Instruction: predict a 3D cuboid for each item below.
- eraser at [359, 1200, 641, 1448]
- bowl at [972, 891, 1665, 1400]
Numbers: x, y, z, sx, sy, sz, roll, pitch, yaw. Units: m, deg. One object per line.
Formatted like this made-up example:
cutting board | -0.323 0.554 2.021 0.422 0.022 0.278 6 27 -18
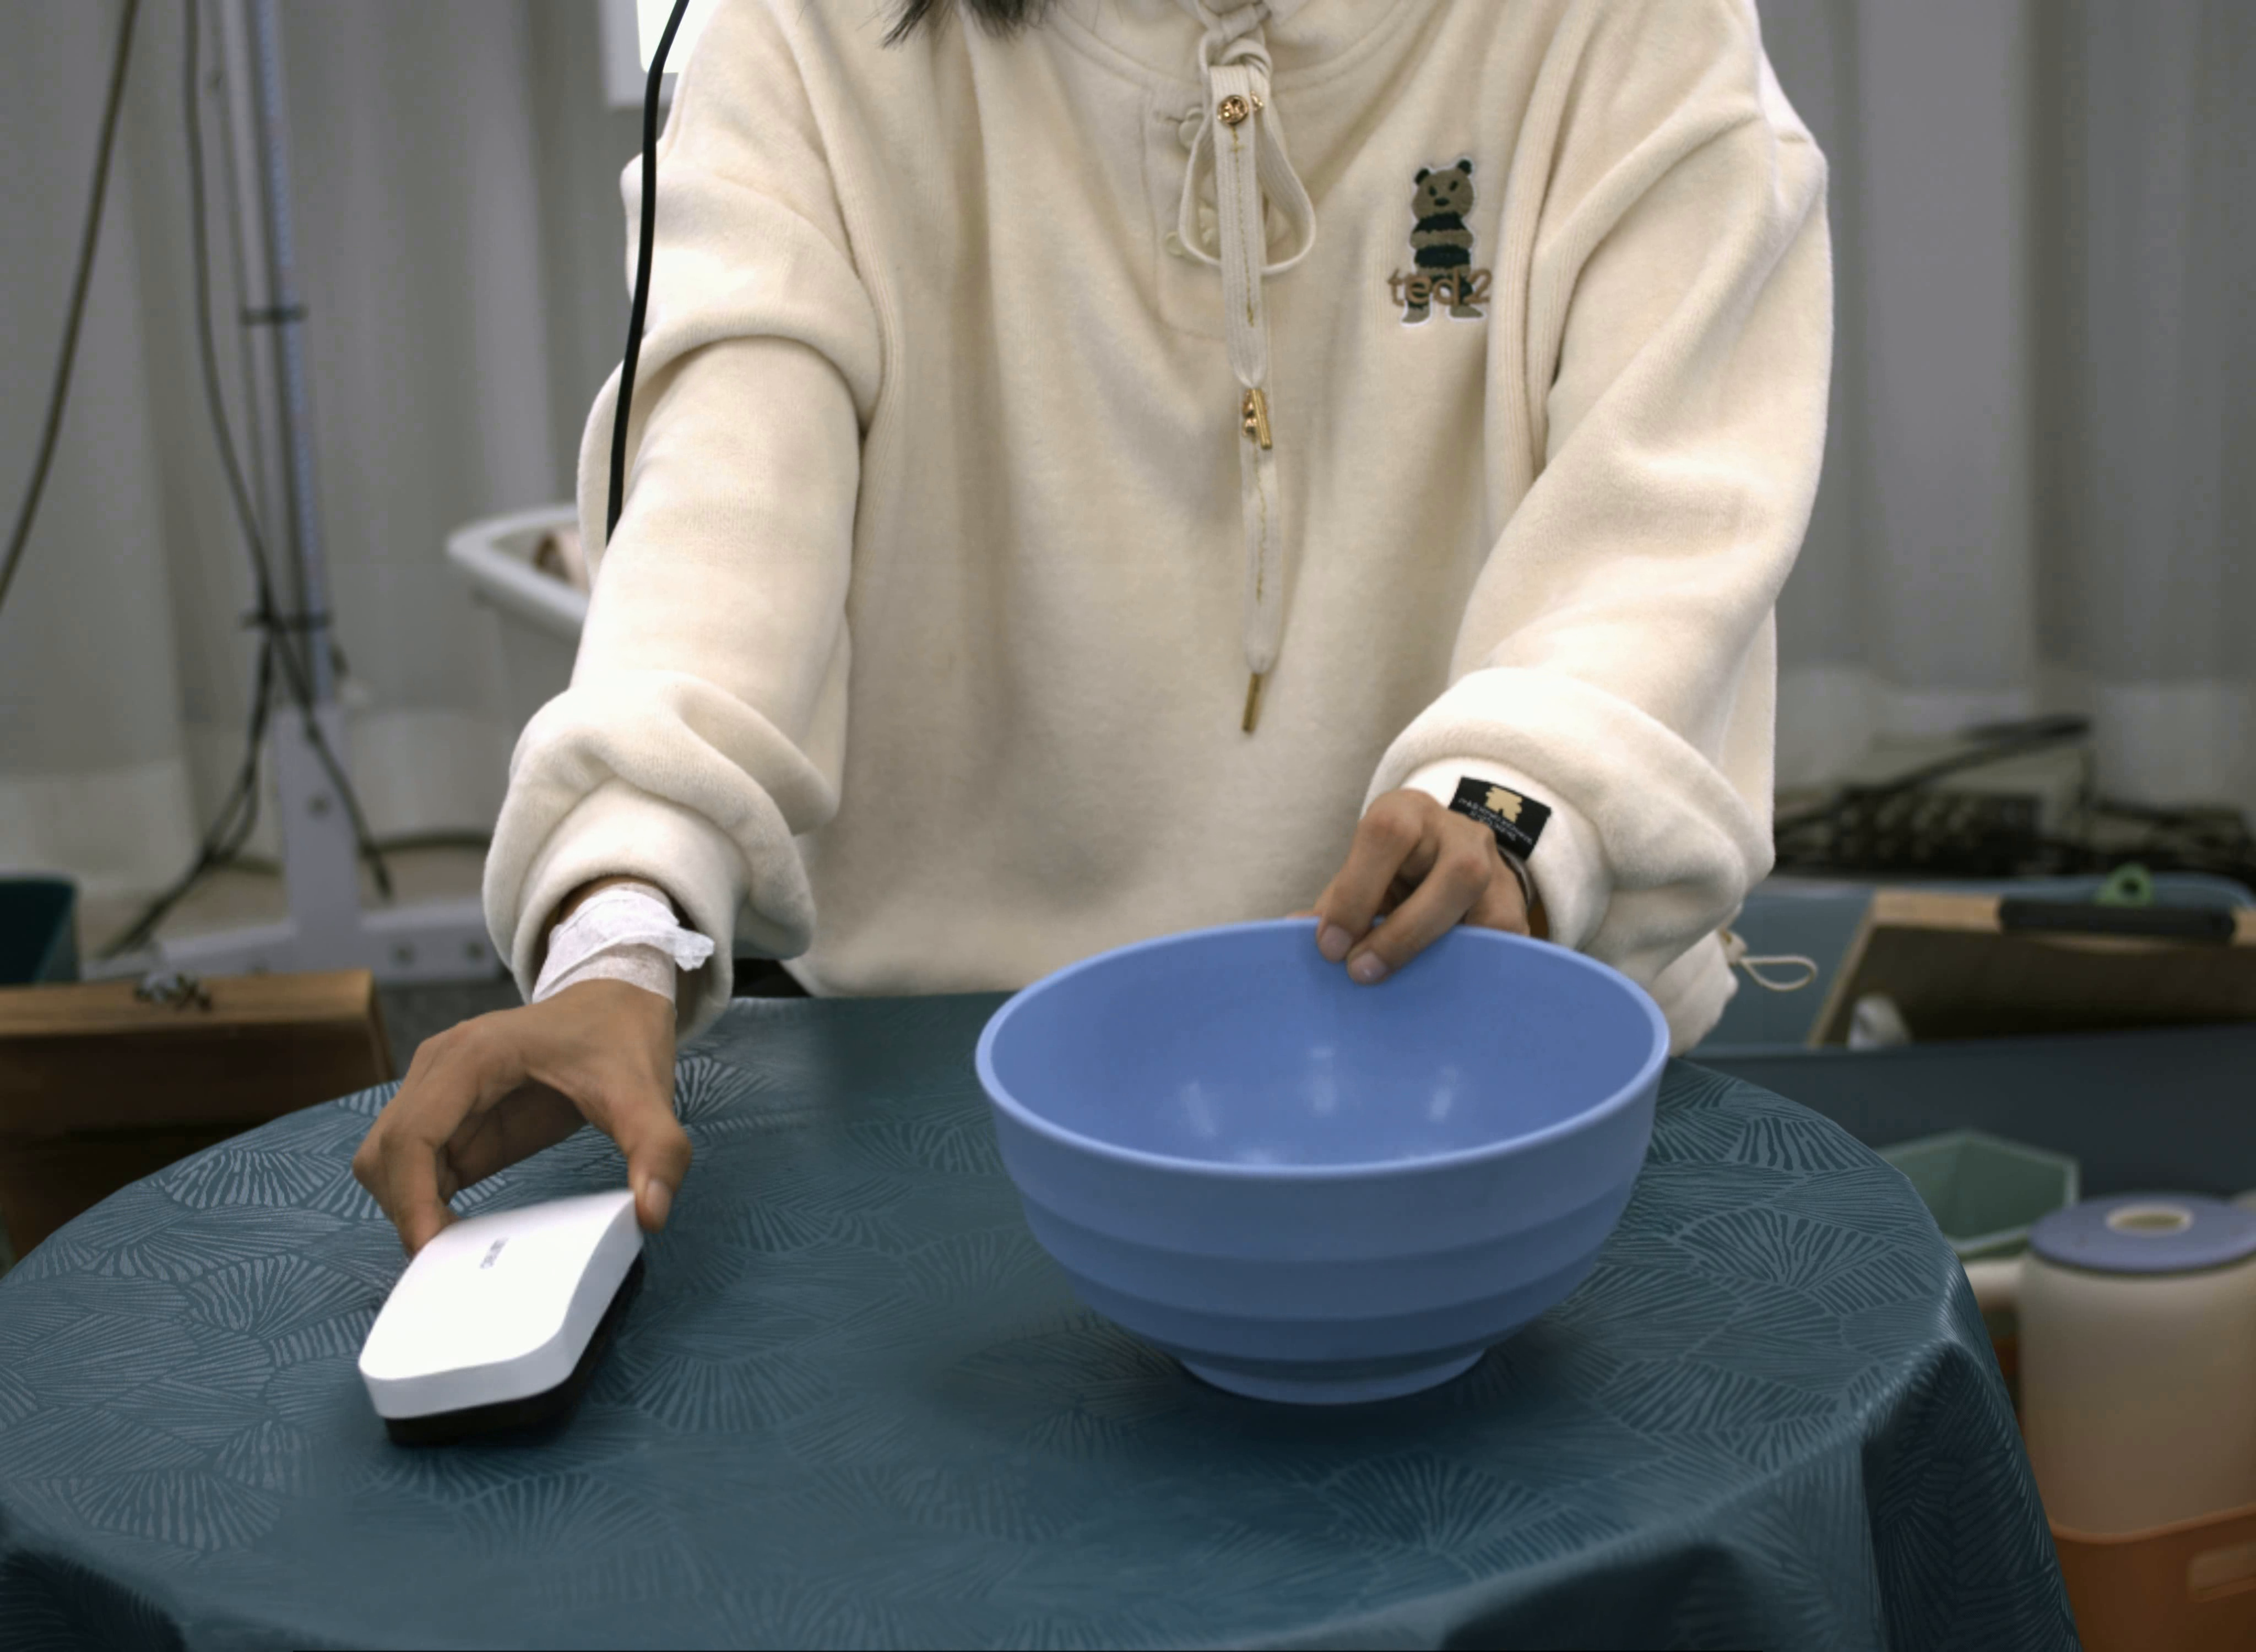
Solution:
eraser | -0.178 0.140 1.580 0.063 0.034 0.132 -8 16 9
bowl | 0.058 0.100 1.560 0.196 0.095 0.198 -6 22 2
